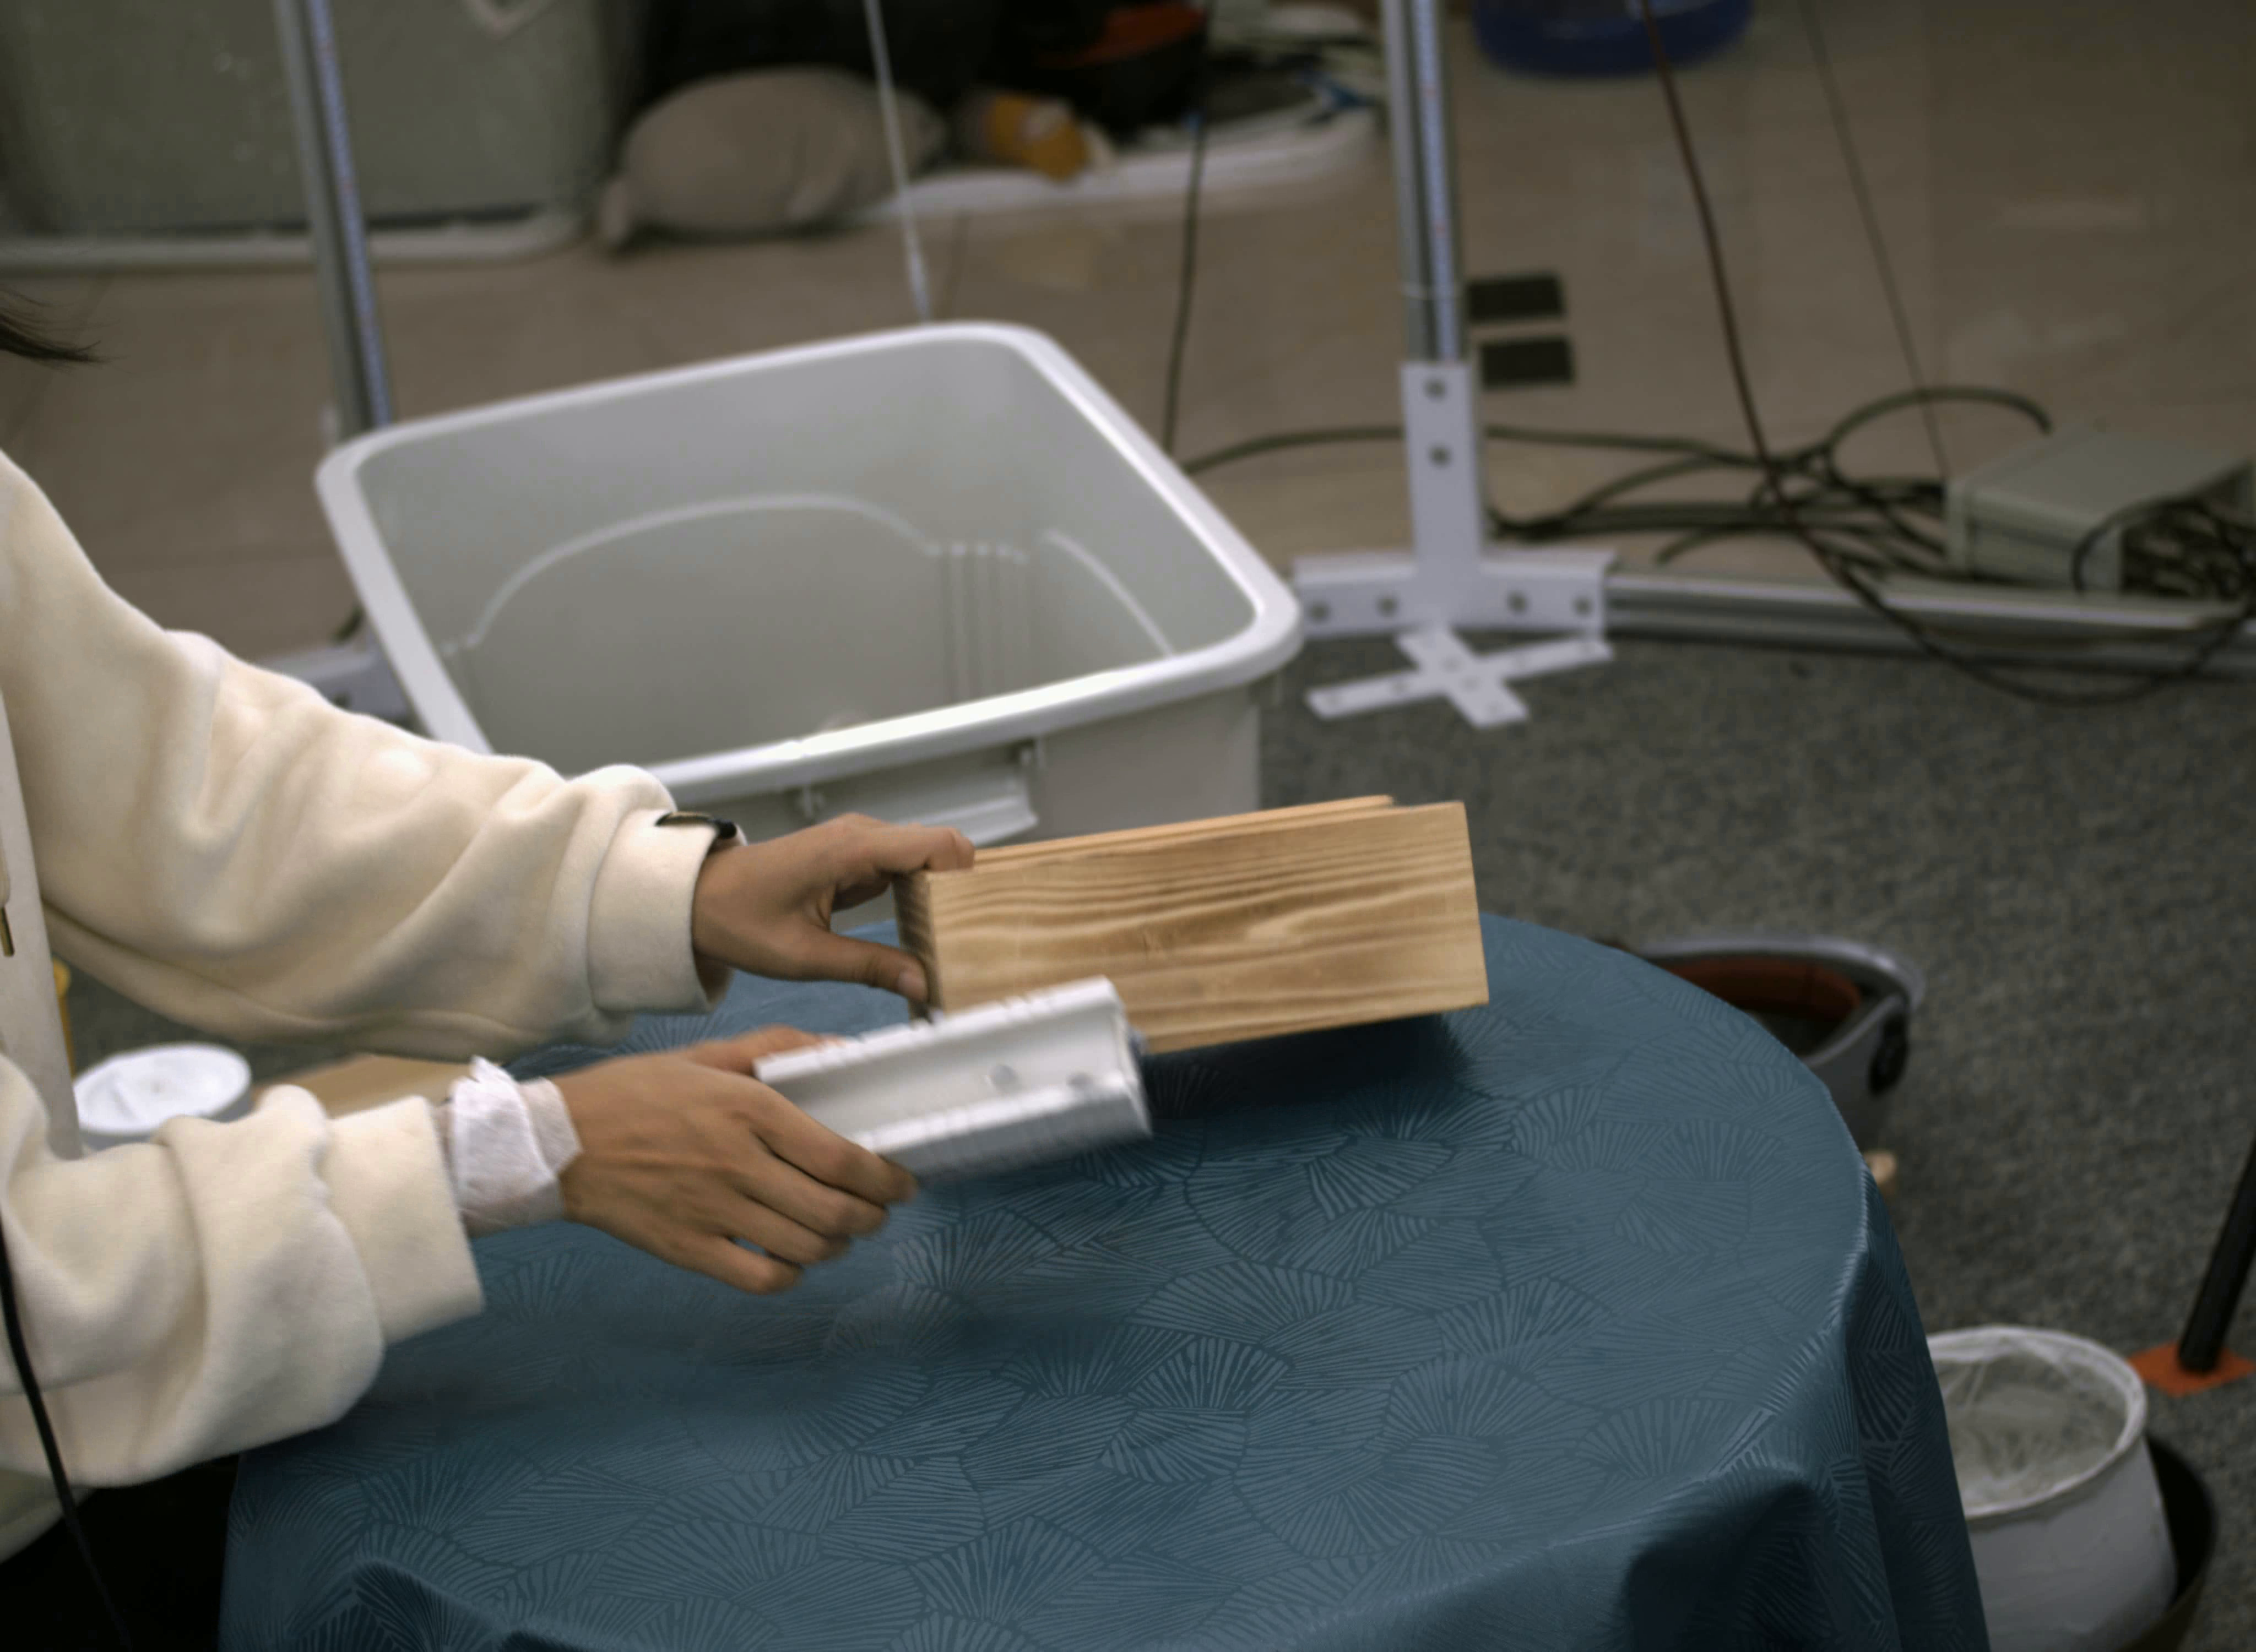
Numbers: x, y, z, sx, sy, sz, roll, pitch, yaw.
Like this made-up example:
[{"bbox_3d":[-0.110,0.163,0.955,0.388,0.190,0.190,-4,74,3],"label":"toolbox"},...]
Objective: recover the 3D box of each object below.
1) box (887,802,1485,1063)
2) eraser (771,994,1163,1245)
[{"bbox_3d":[0.021,0.045,2.203,0.211,0.080,0.107,-7,6,-10],"label":"box"},{"bbox_3d":[-0.058,0.107,2.049,0.134,0.047,0.049,-15,60,5],"label":"eraser"}]
